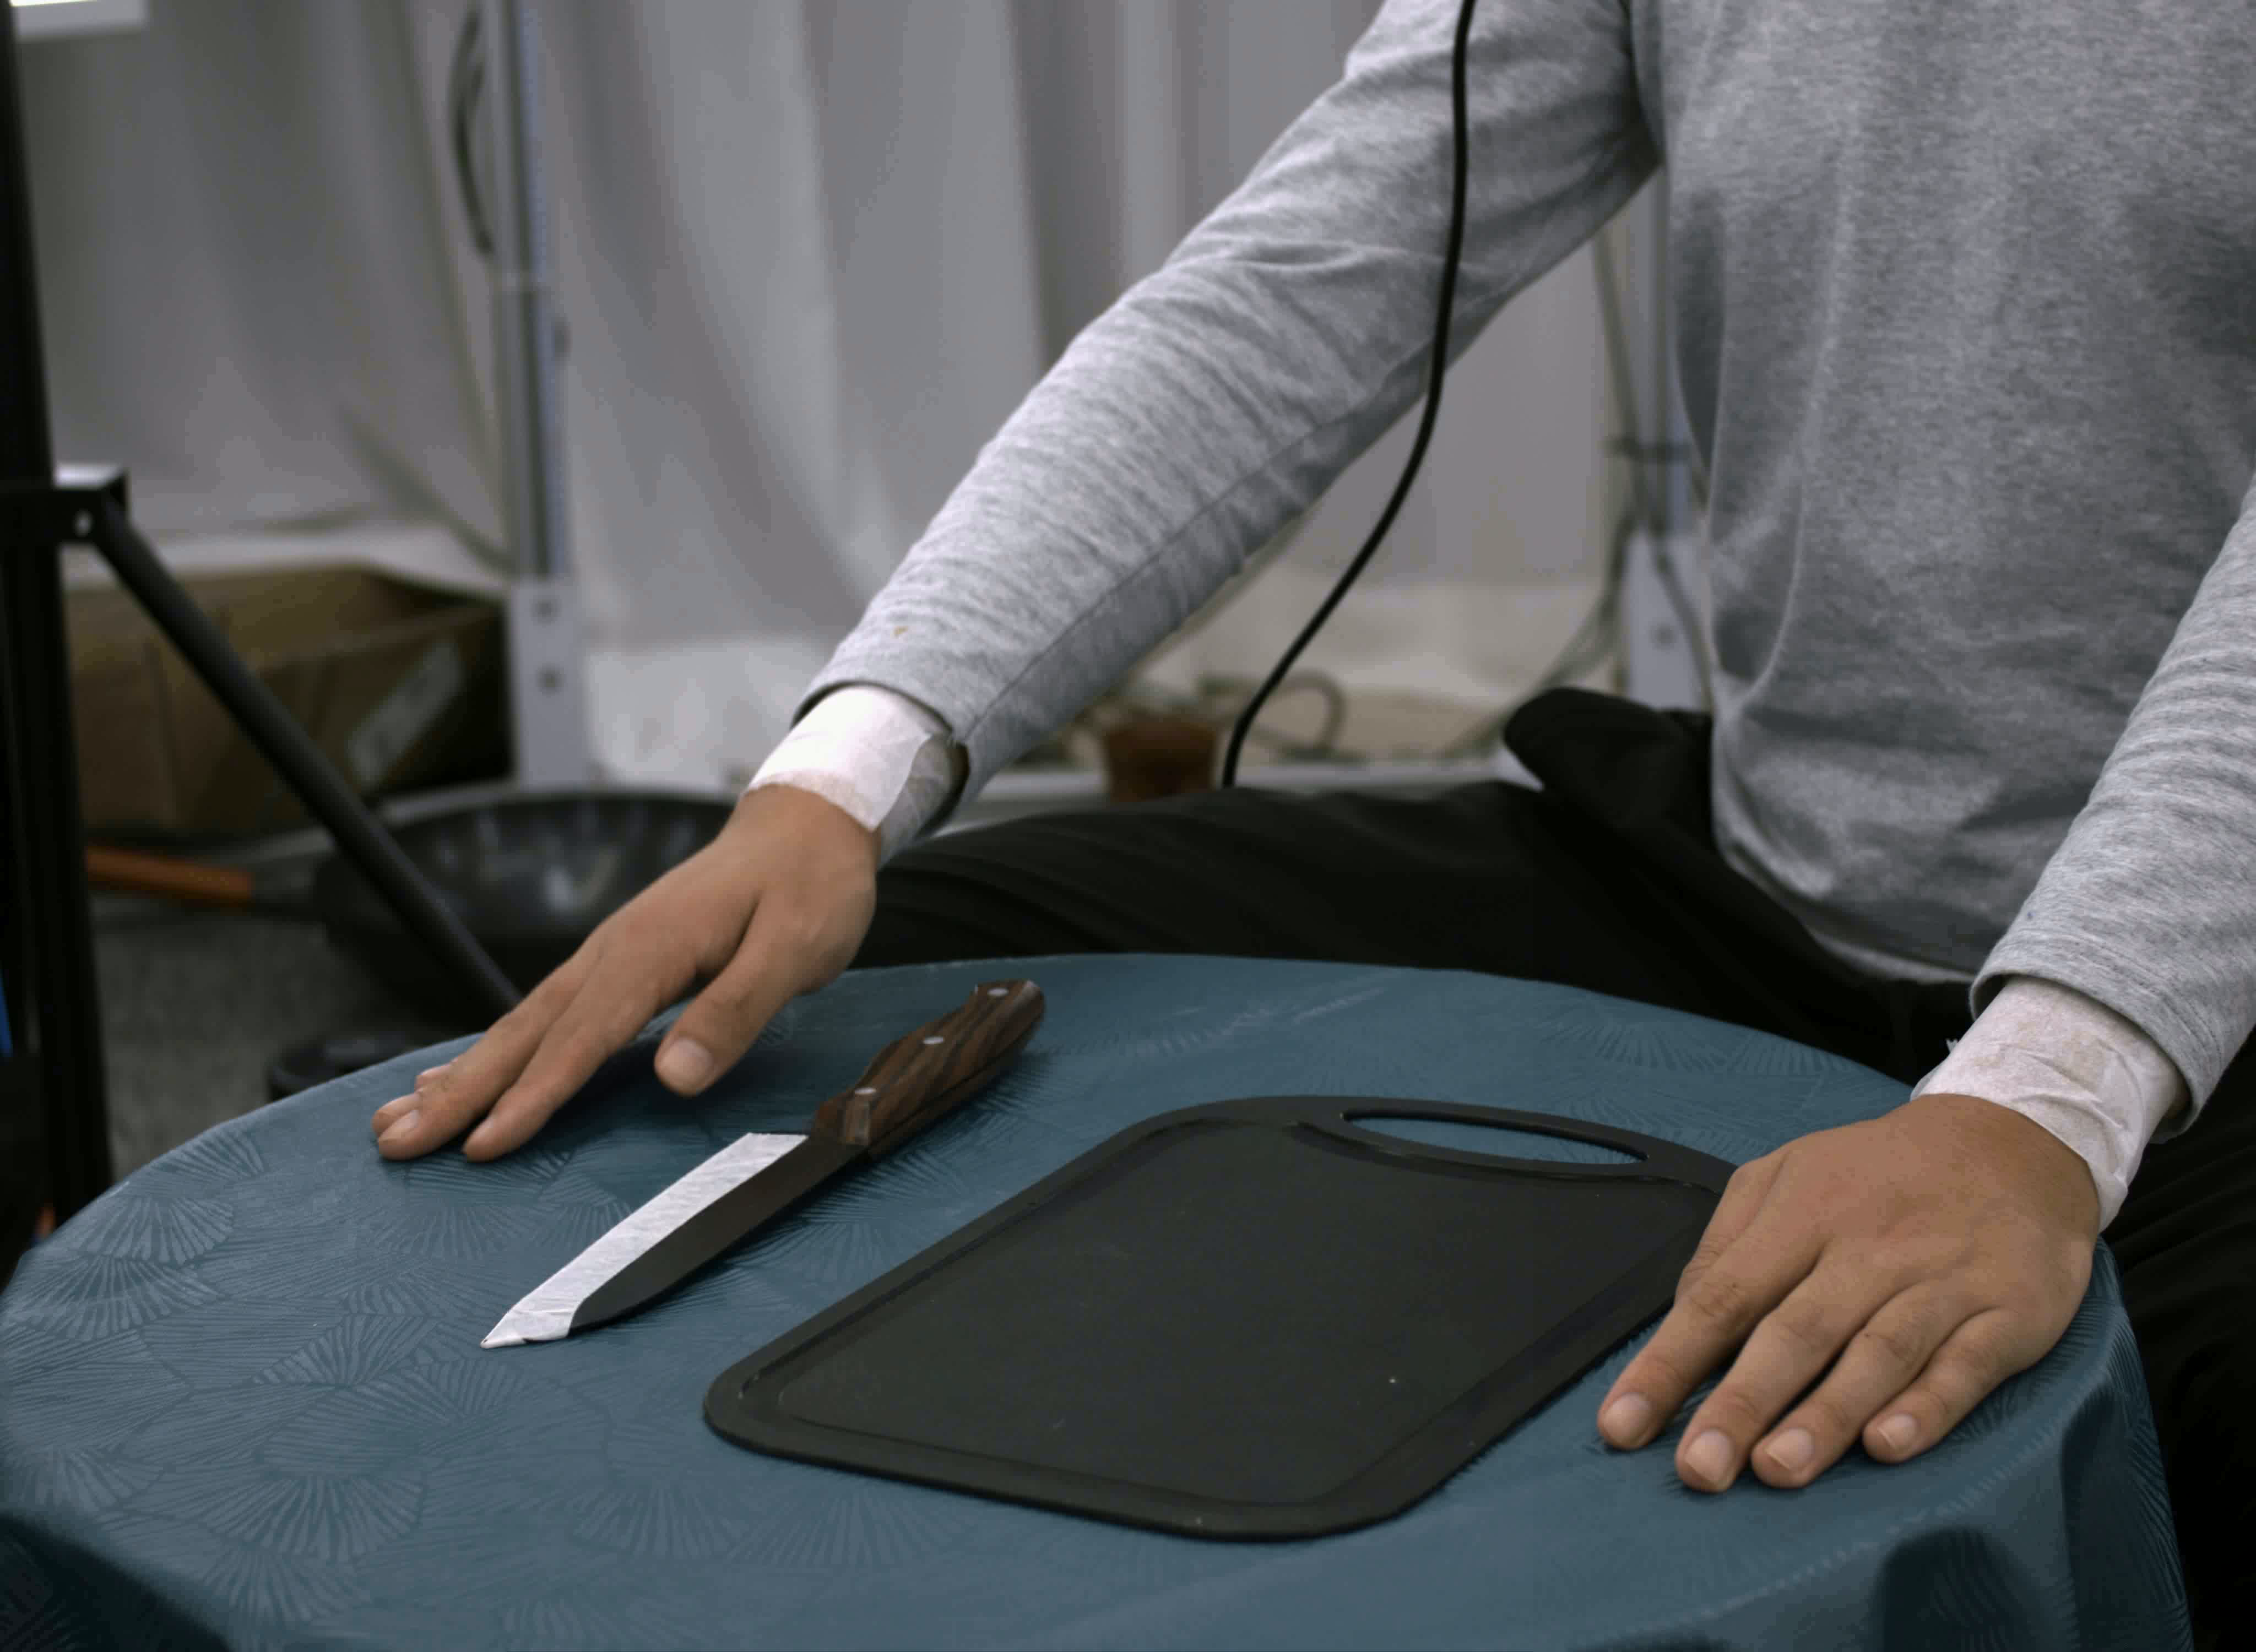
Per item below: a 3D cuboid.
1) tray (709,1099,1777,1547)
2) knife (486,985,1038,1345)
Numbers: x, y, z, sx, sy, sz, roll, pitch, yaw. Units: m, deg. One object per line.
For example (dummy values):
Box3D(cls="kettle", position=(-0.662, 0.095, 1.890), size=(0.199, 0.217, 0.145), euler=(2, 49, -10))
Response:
Box3D(cls="tray", position=(0.041, 0.128, 1.475), size=(0.215, 0.010, 0.319), euler=(8, 18, 31))
Box3D(cls="knife", position=(-0.103, 0.101, 1.577), size=(0.051, 0.020, 0.284), euler=(1, 18, 30))
